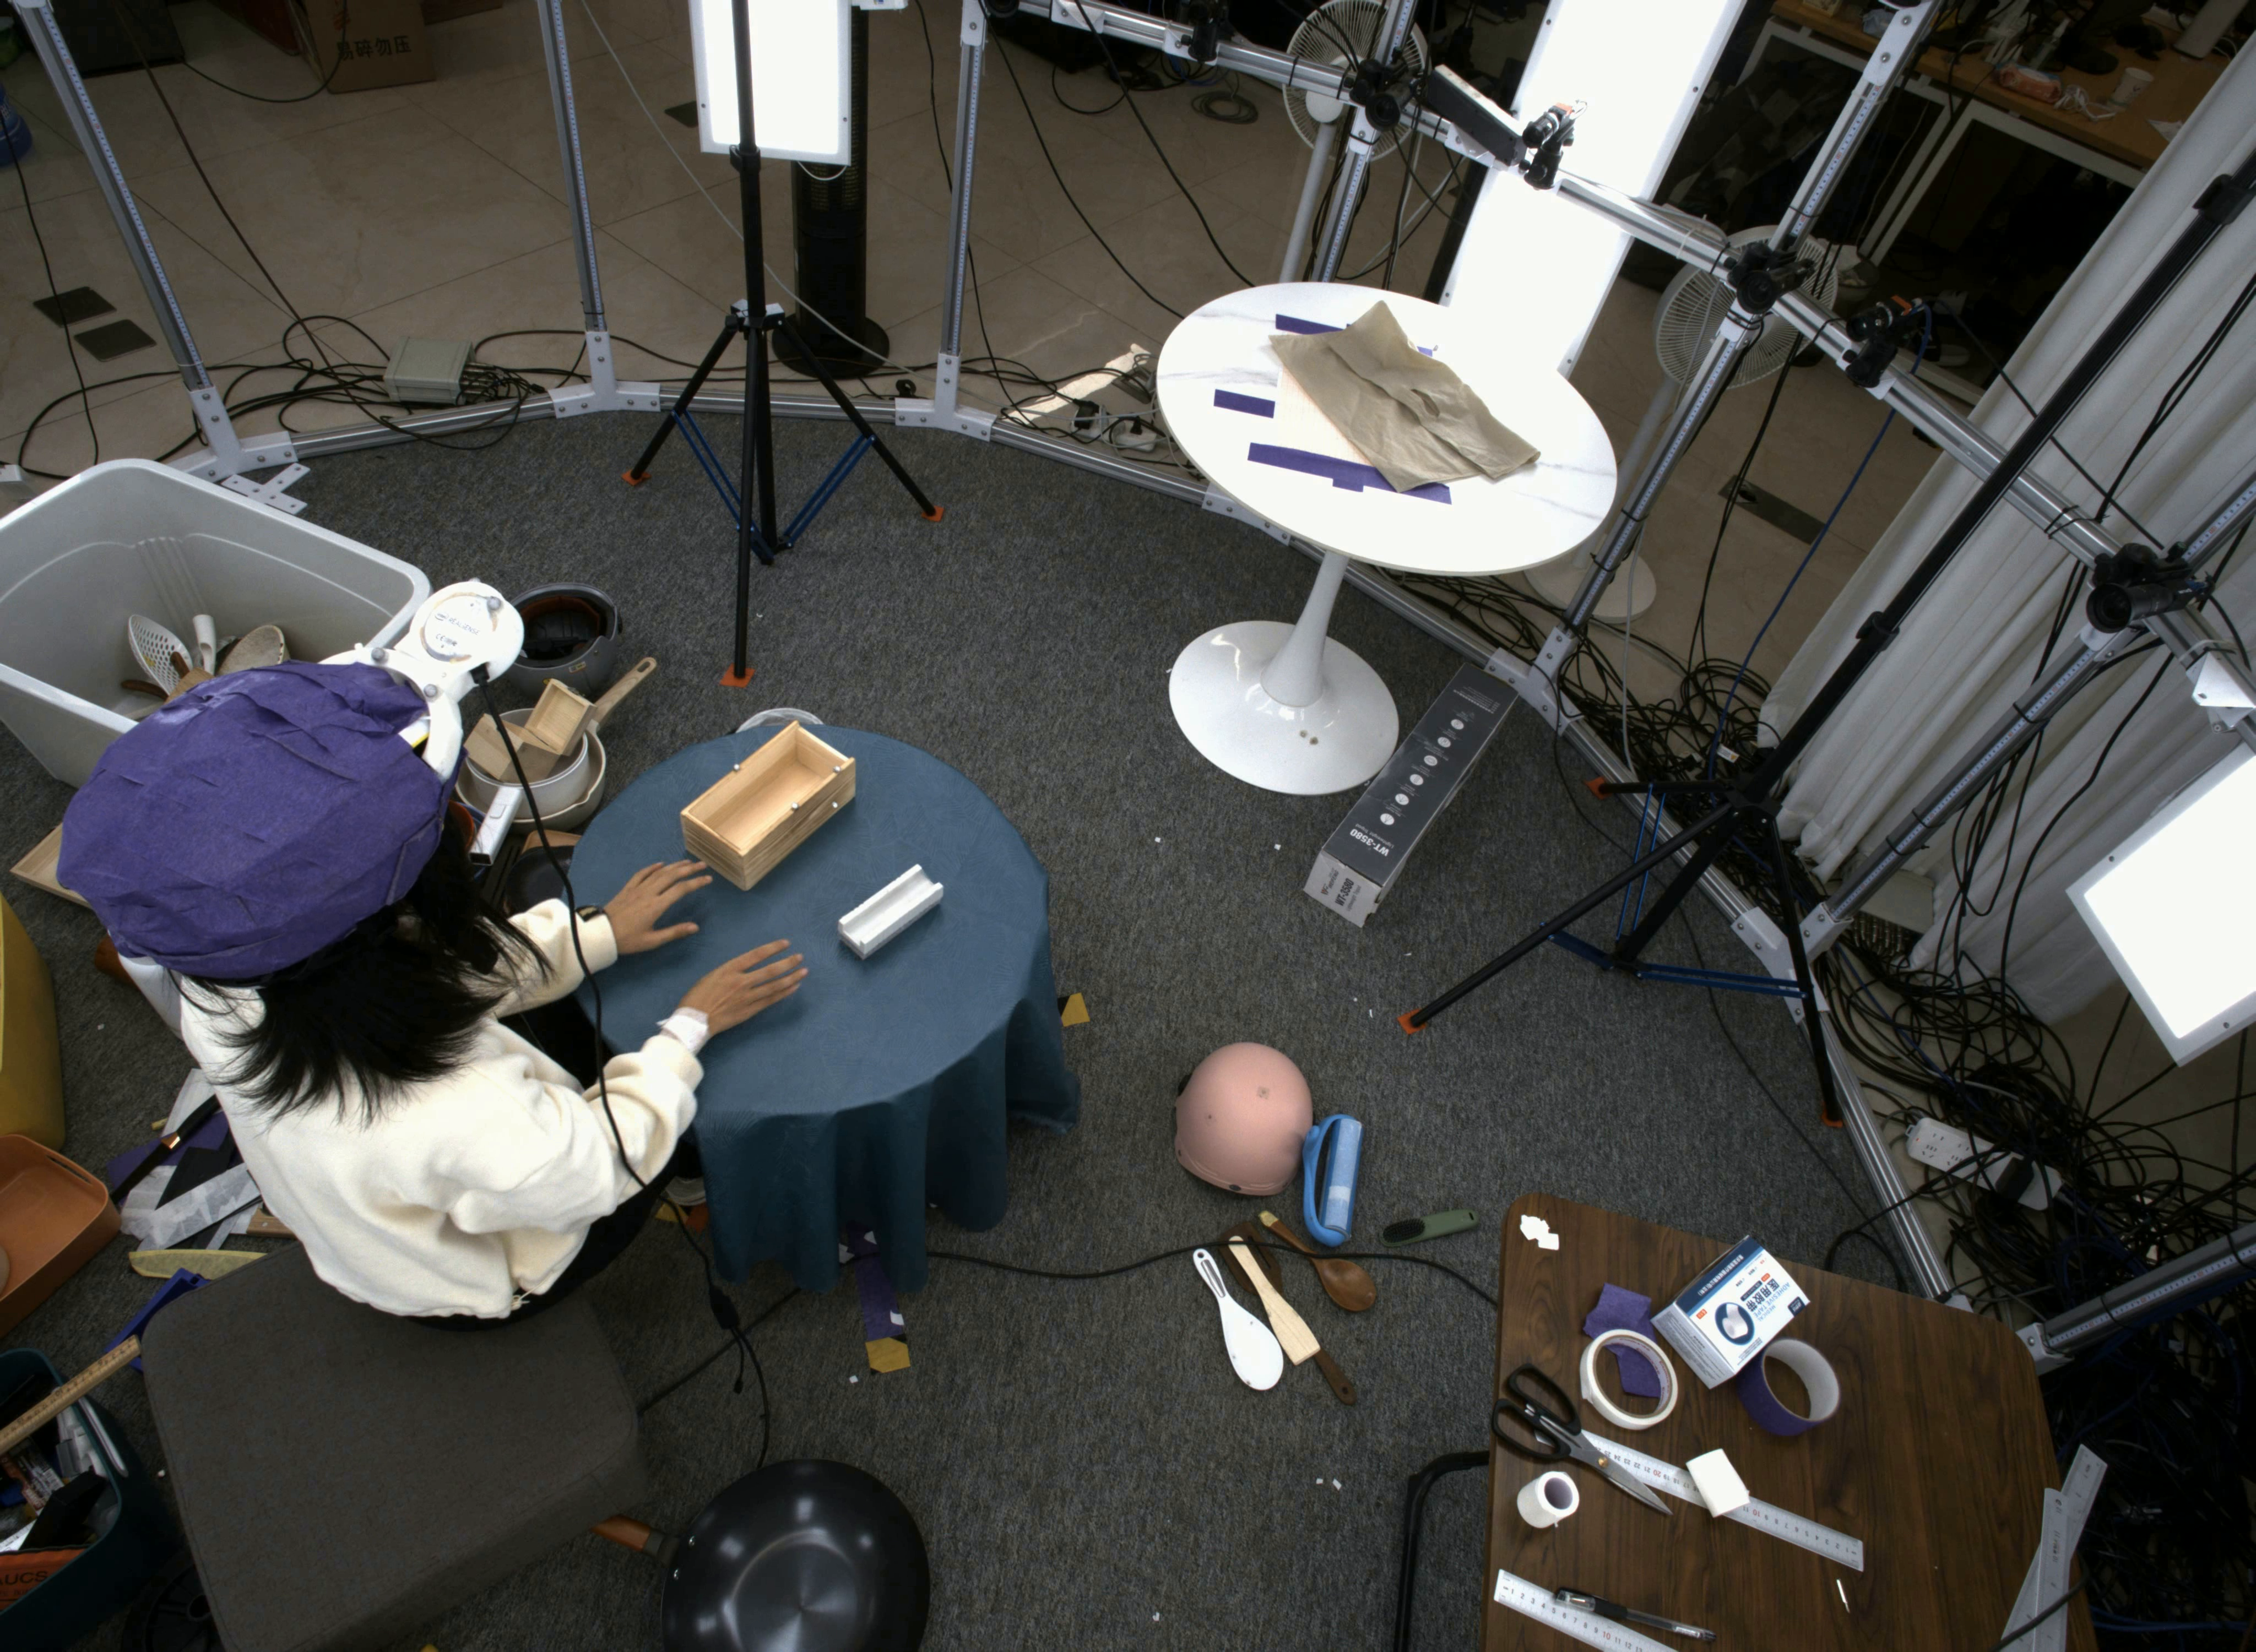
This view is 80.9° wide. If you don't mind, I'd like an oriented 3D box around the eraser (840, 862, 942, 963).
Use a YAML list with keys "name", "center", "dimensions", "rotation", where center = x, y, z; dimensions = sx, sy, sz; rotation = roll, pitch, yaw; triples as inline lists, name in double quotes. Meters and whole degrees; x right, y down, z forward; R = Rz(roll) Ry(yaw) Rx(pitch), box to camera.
- name: "eraser"
  center: [-0.298, 0.107, 1.641]
  dimensions: [0.049, 0.047, 0.134]
  rotation: [37, 52, 14]

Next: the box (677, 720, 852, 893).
- name: "box"
  center: [-0.467, -0.029, 1.678]
  dimensions: [0.105, 0.082, 0.211]
  rotation: [32, 52, 12]
